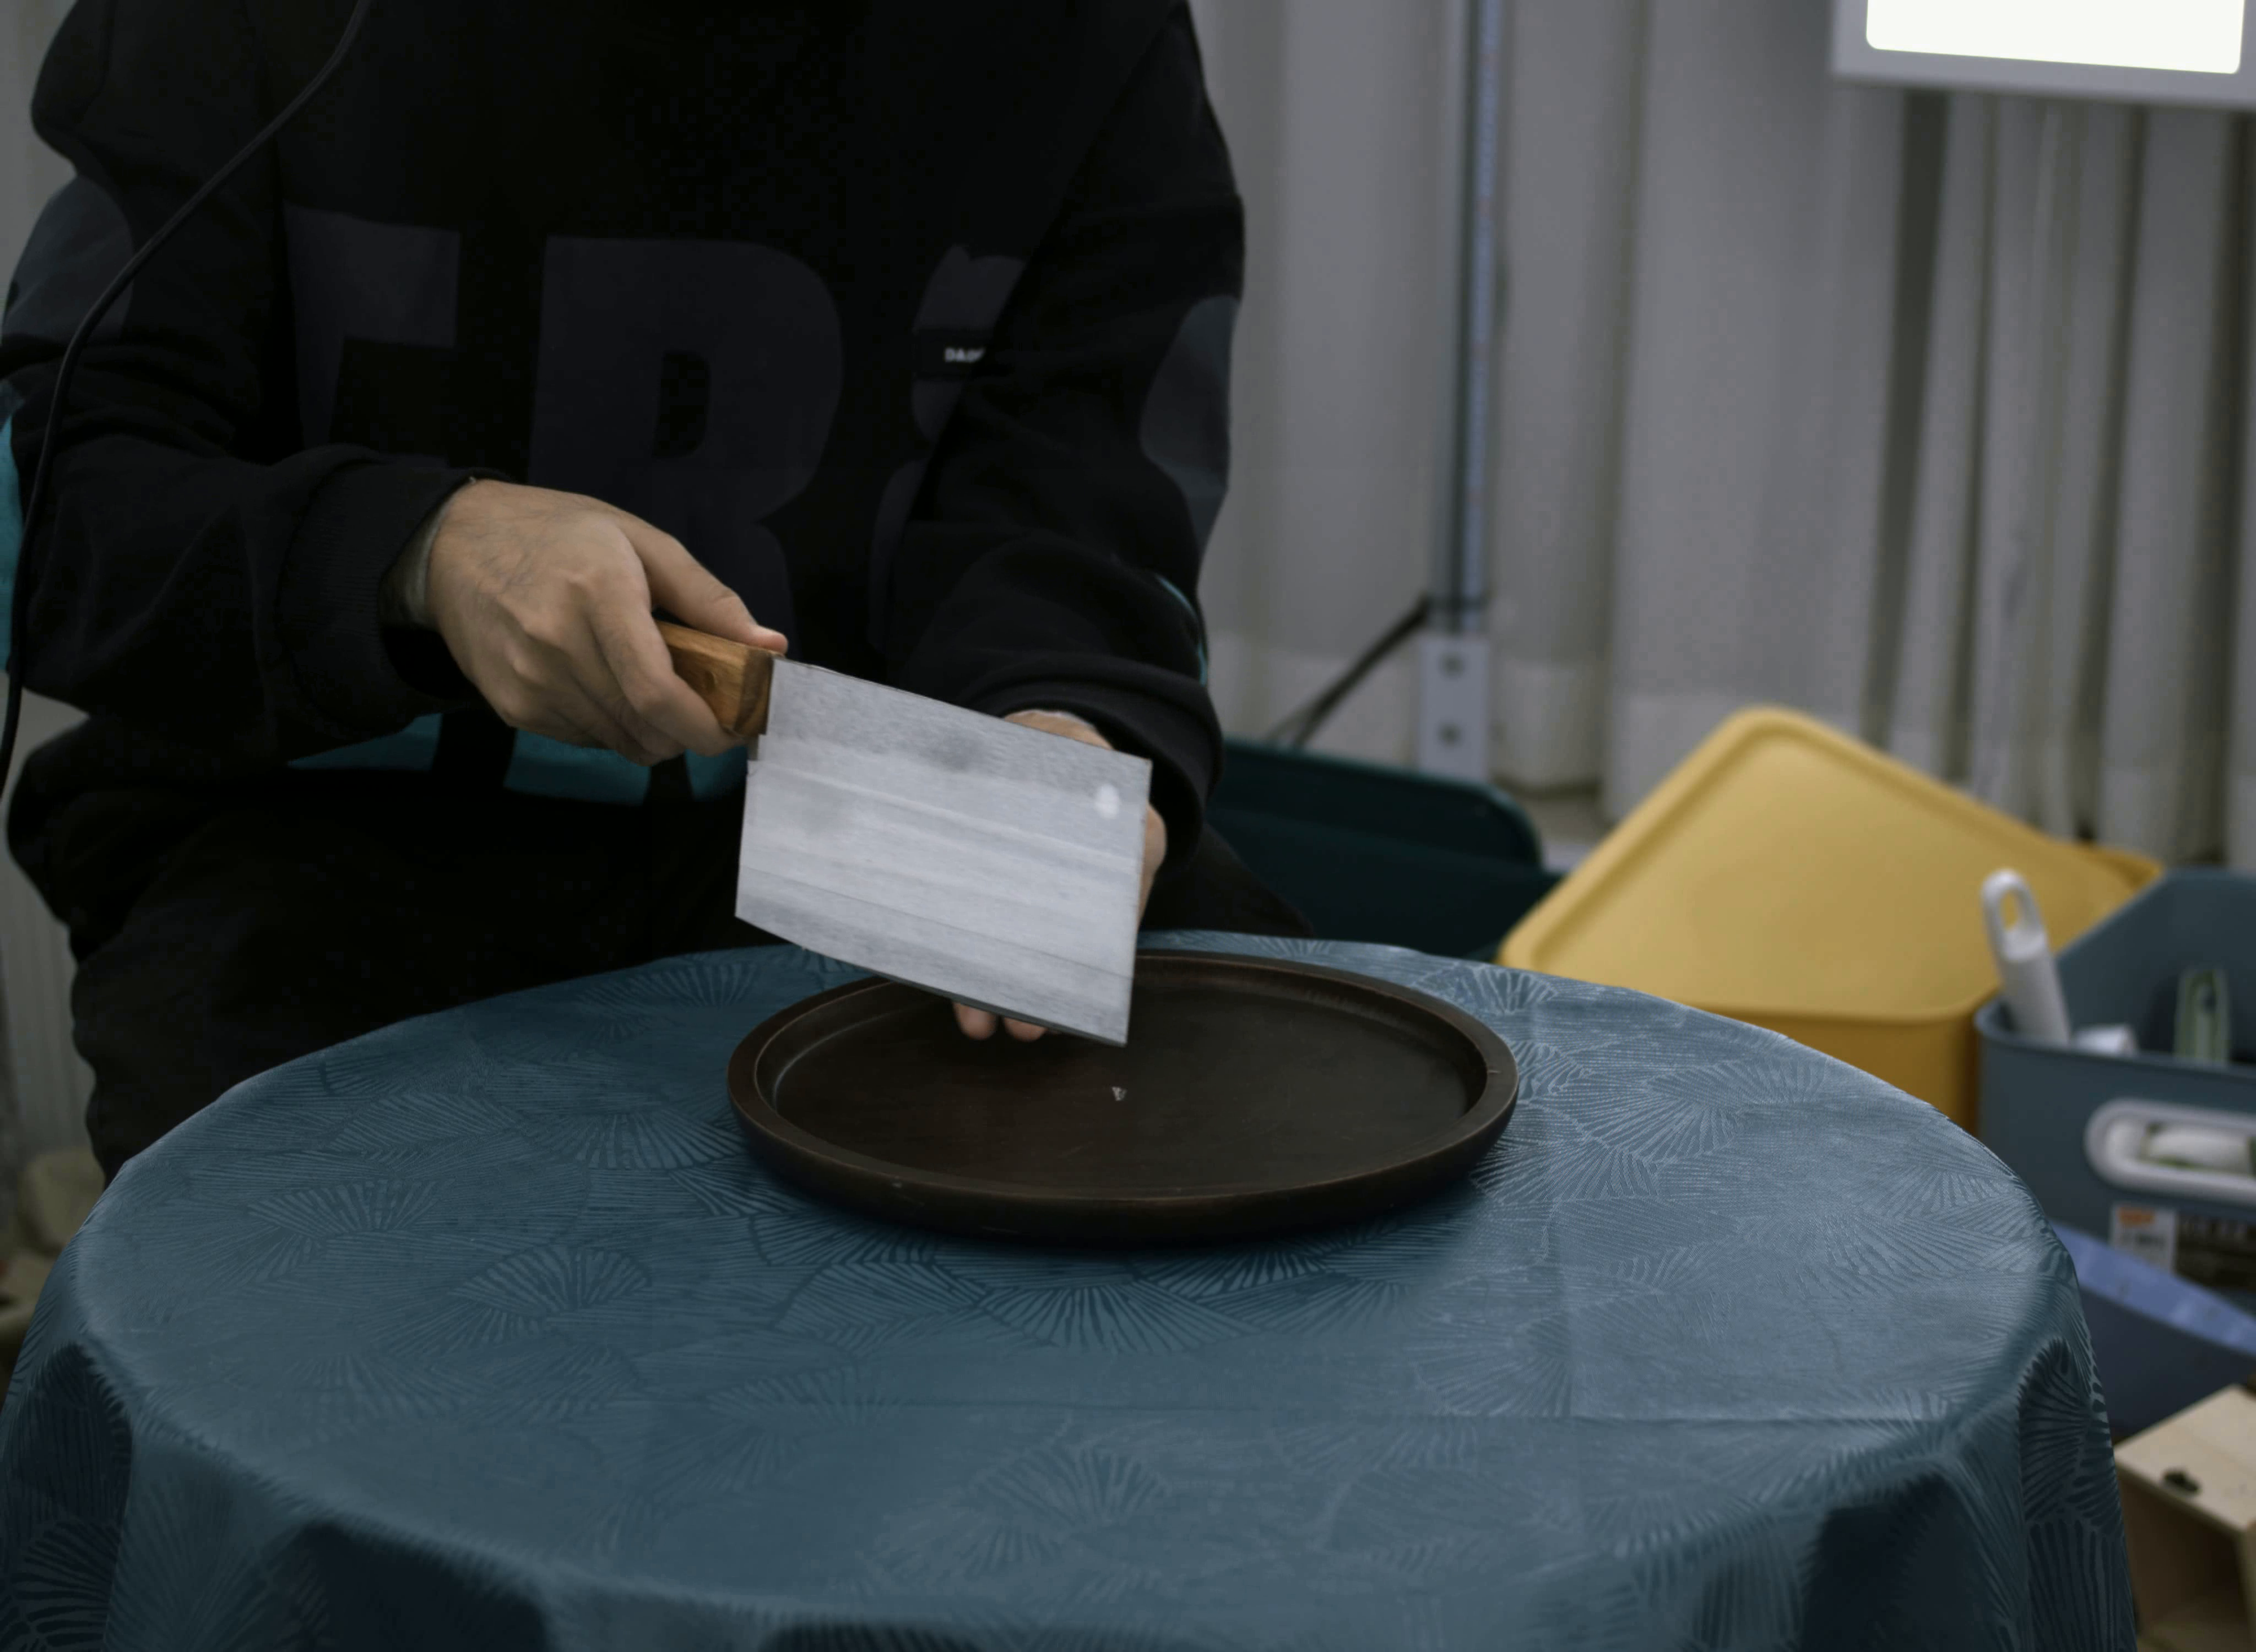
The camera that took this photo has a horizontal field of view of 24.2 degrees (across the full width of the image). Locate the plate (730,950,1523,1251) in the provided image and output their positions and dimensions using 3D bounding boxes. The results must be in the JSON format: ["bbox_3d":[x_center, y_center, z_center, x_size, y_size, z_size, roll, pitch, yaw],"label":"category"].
[{"bbox_3d":[0.000,0.085,1.675,0.254,0.029,0.253,2,15,0],"label":"plate"}]

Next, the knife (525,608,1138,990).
[{"bbox_3d":[-0.100,-0.009,1.681,0.021,0.093,0.301,-6,15,-42],"label":"knife"}]
